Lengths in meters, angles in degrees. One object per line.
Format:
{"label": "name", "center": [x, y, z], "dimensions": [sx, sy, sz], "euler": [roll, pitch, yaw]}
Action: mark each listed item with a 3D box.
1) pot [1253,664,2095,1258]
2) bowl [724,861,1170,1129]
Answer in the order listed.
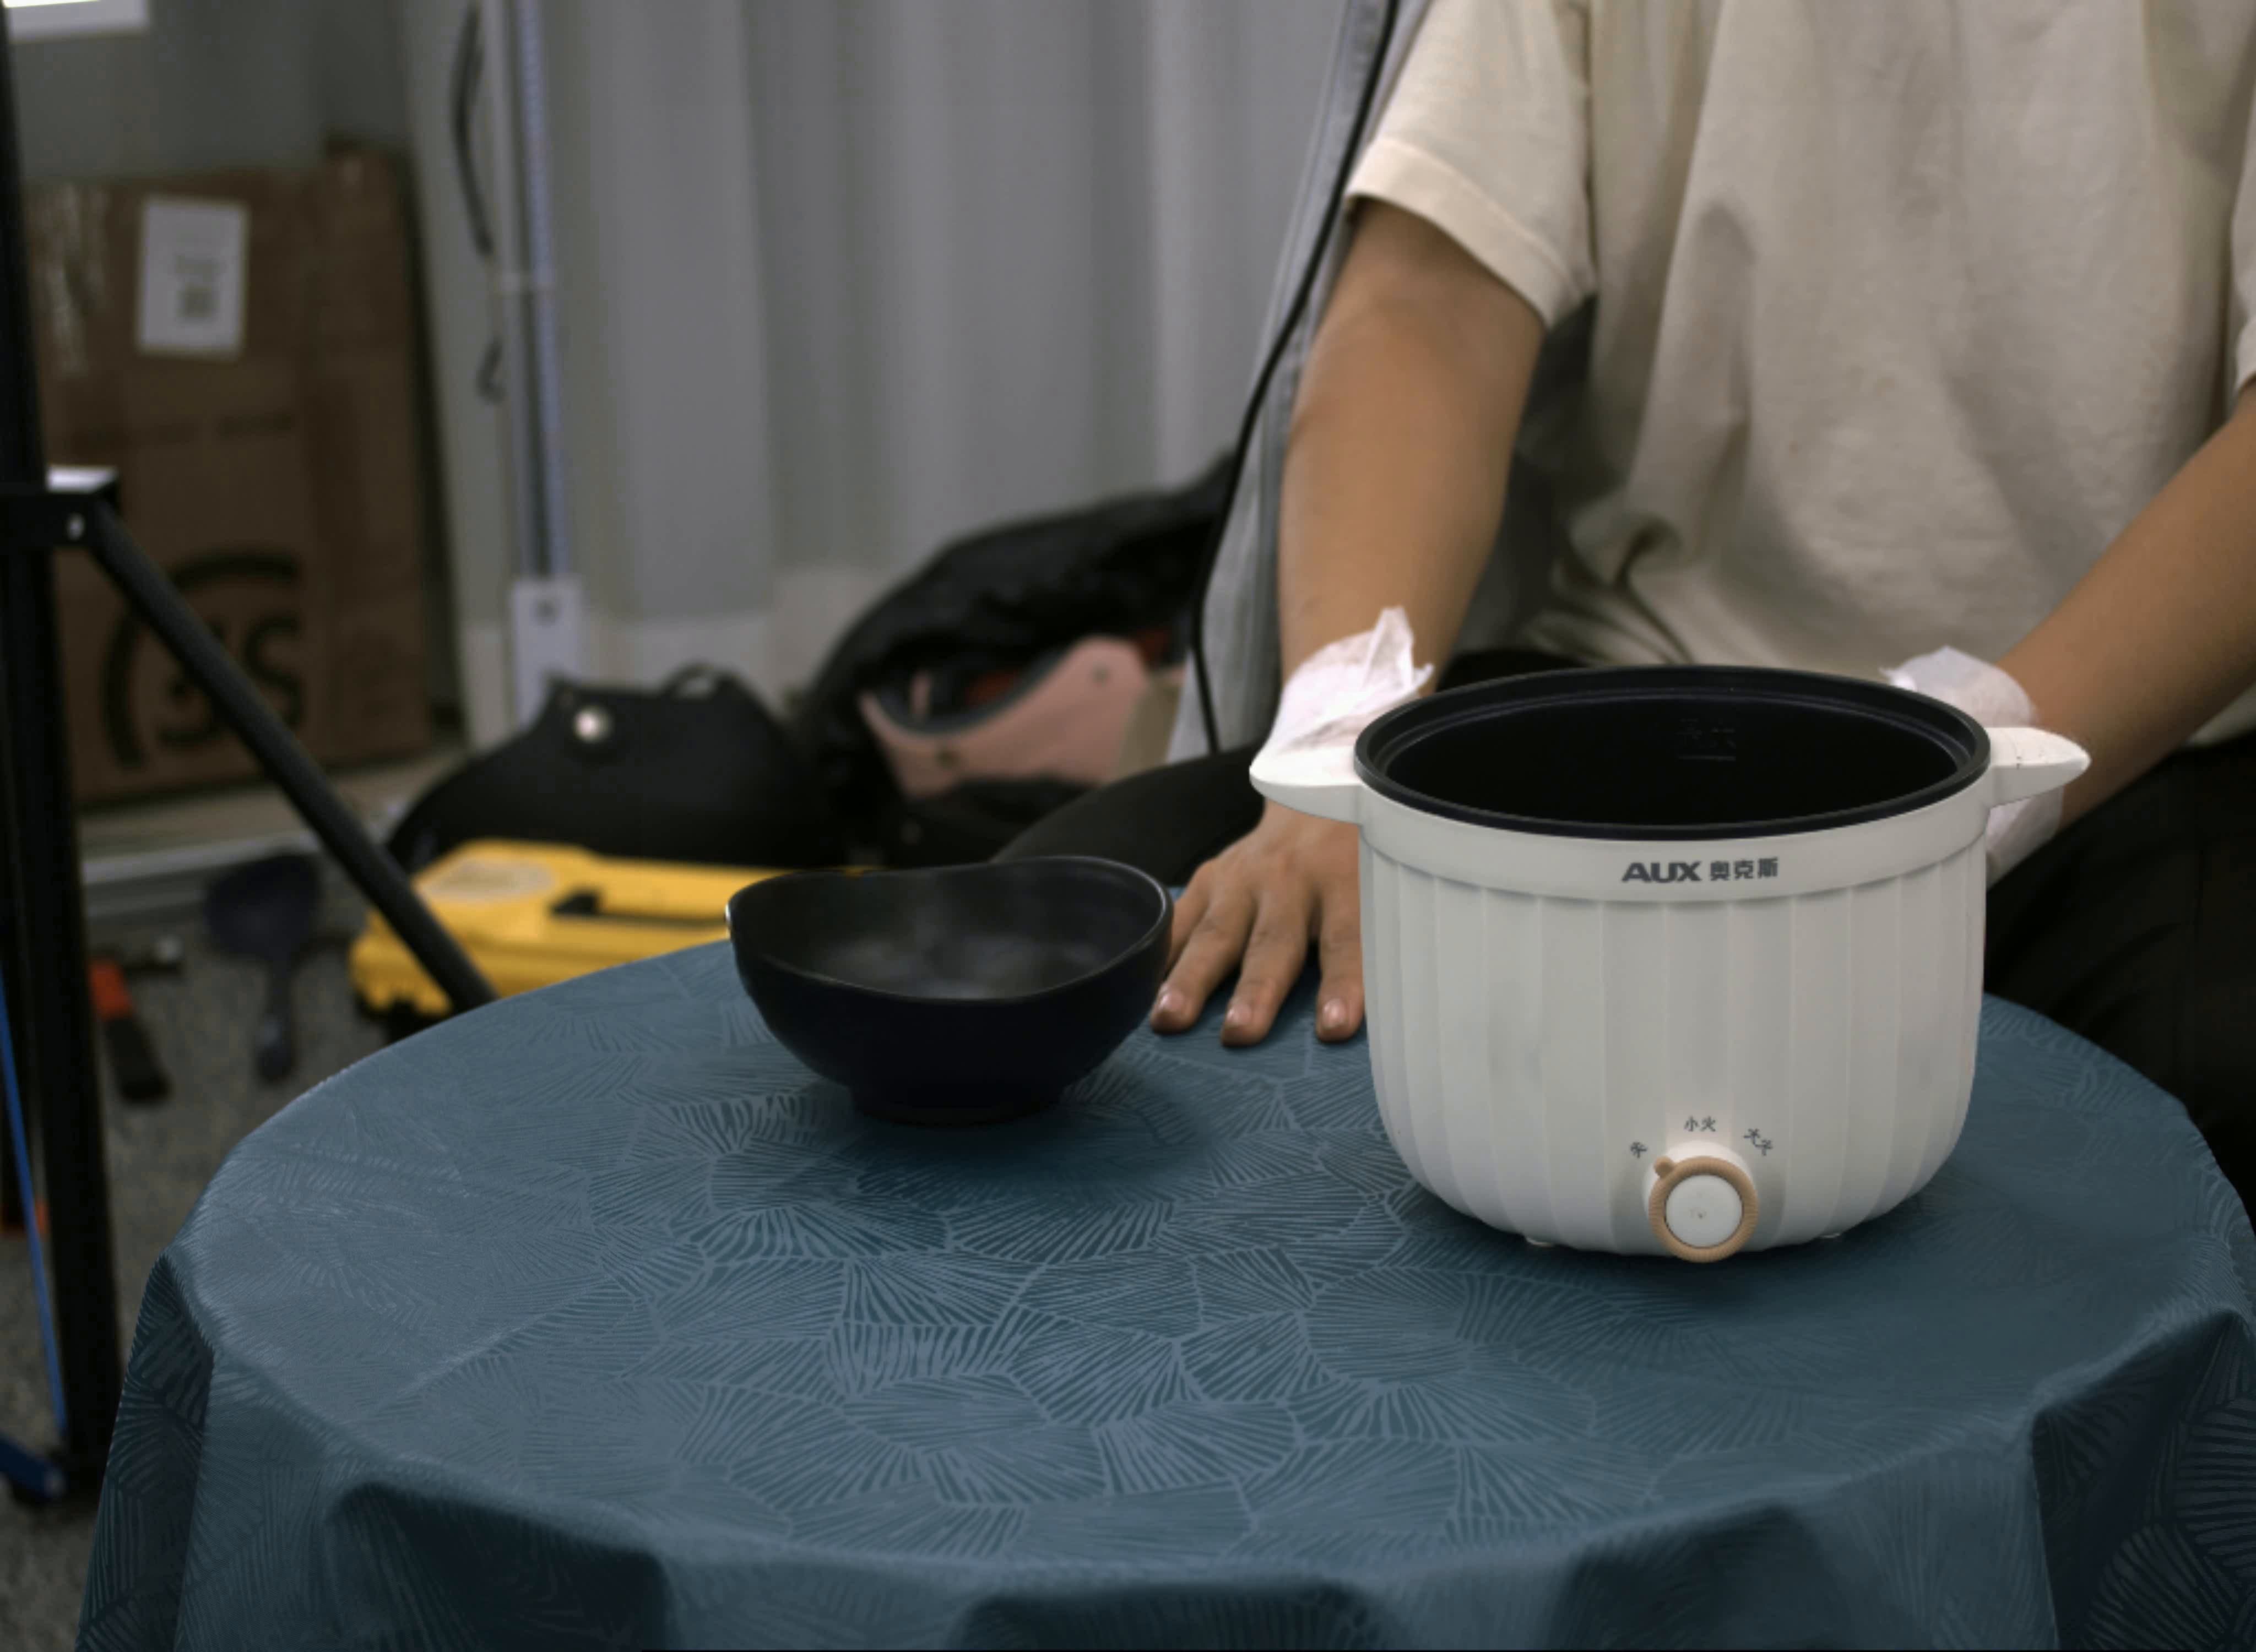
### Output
{"label": "pot", "center": [0.158, 0.041, 1.514], "dimensions": [0.239, 0.143, 0.191], "euler": [-3, 12, 2]}
{"label": "bowl", "center": [-0.056, 0.054, 1.642], "dimensions": [0.136, 0.067, 0.172], "euler": [-3, 15, -9]}
